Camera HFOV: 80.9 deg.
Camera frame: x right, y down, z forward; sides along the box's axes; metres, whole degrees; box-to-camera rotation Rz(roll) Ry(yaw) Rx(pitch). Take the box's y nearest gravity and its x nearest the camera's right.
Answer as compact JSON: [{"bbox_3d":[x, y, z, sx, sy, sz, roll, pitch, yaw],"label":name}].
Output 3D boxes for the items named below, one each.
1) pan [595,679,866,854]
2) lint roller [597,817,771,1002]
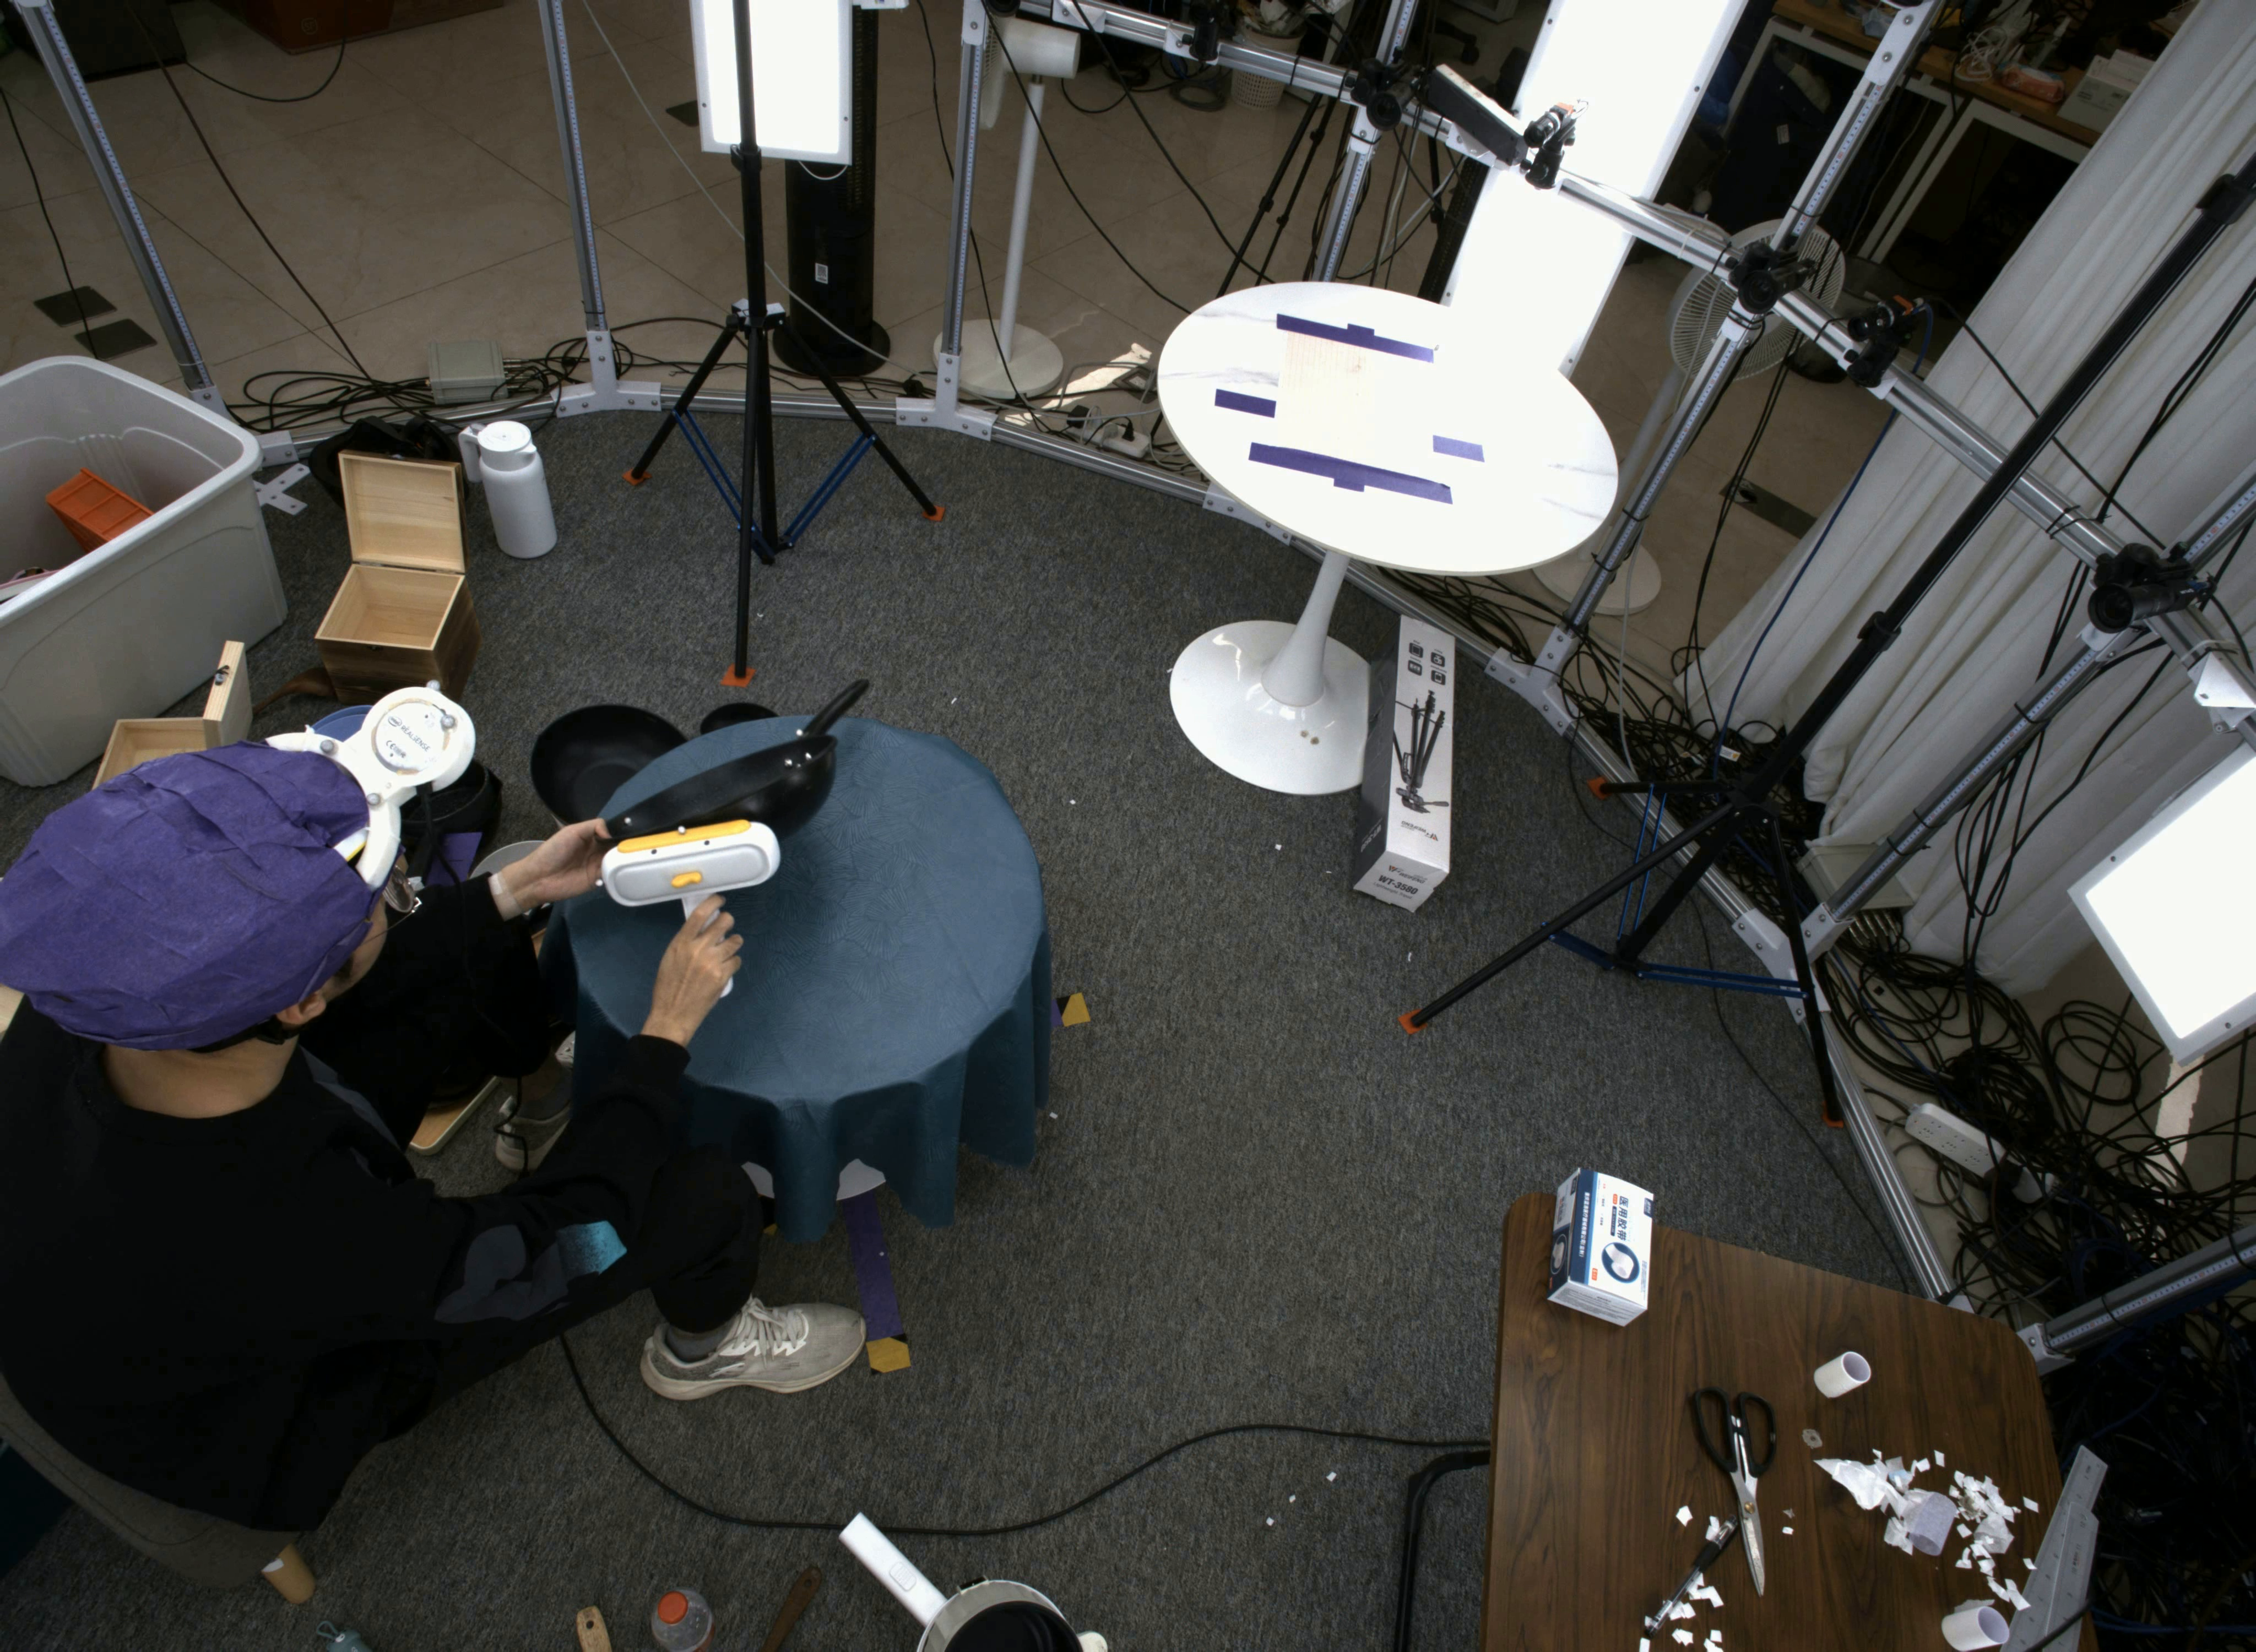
[{"bbox_3d":[-0.458,-0.057,1.635,0.302,0.115,0.476,-9,20,30],"label":"pan"},{"bbox_3d":[-0.478,0.098,1.435,0.192,0.198,0.072,-16,23,-12],"label":"lint roller"}]
